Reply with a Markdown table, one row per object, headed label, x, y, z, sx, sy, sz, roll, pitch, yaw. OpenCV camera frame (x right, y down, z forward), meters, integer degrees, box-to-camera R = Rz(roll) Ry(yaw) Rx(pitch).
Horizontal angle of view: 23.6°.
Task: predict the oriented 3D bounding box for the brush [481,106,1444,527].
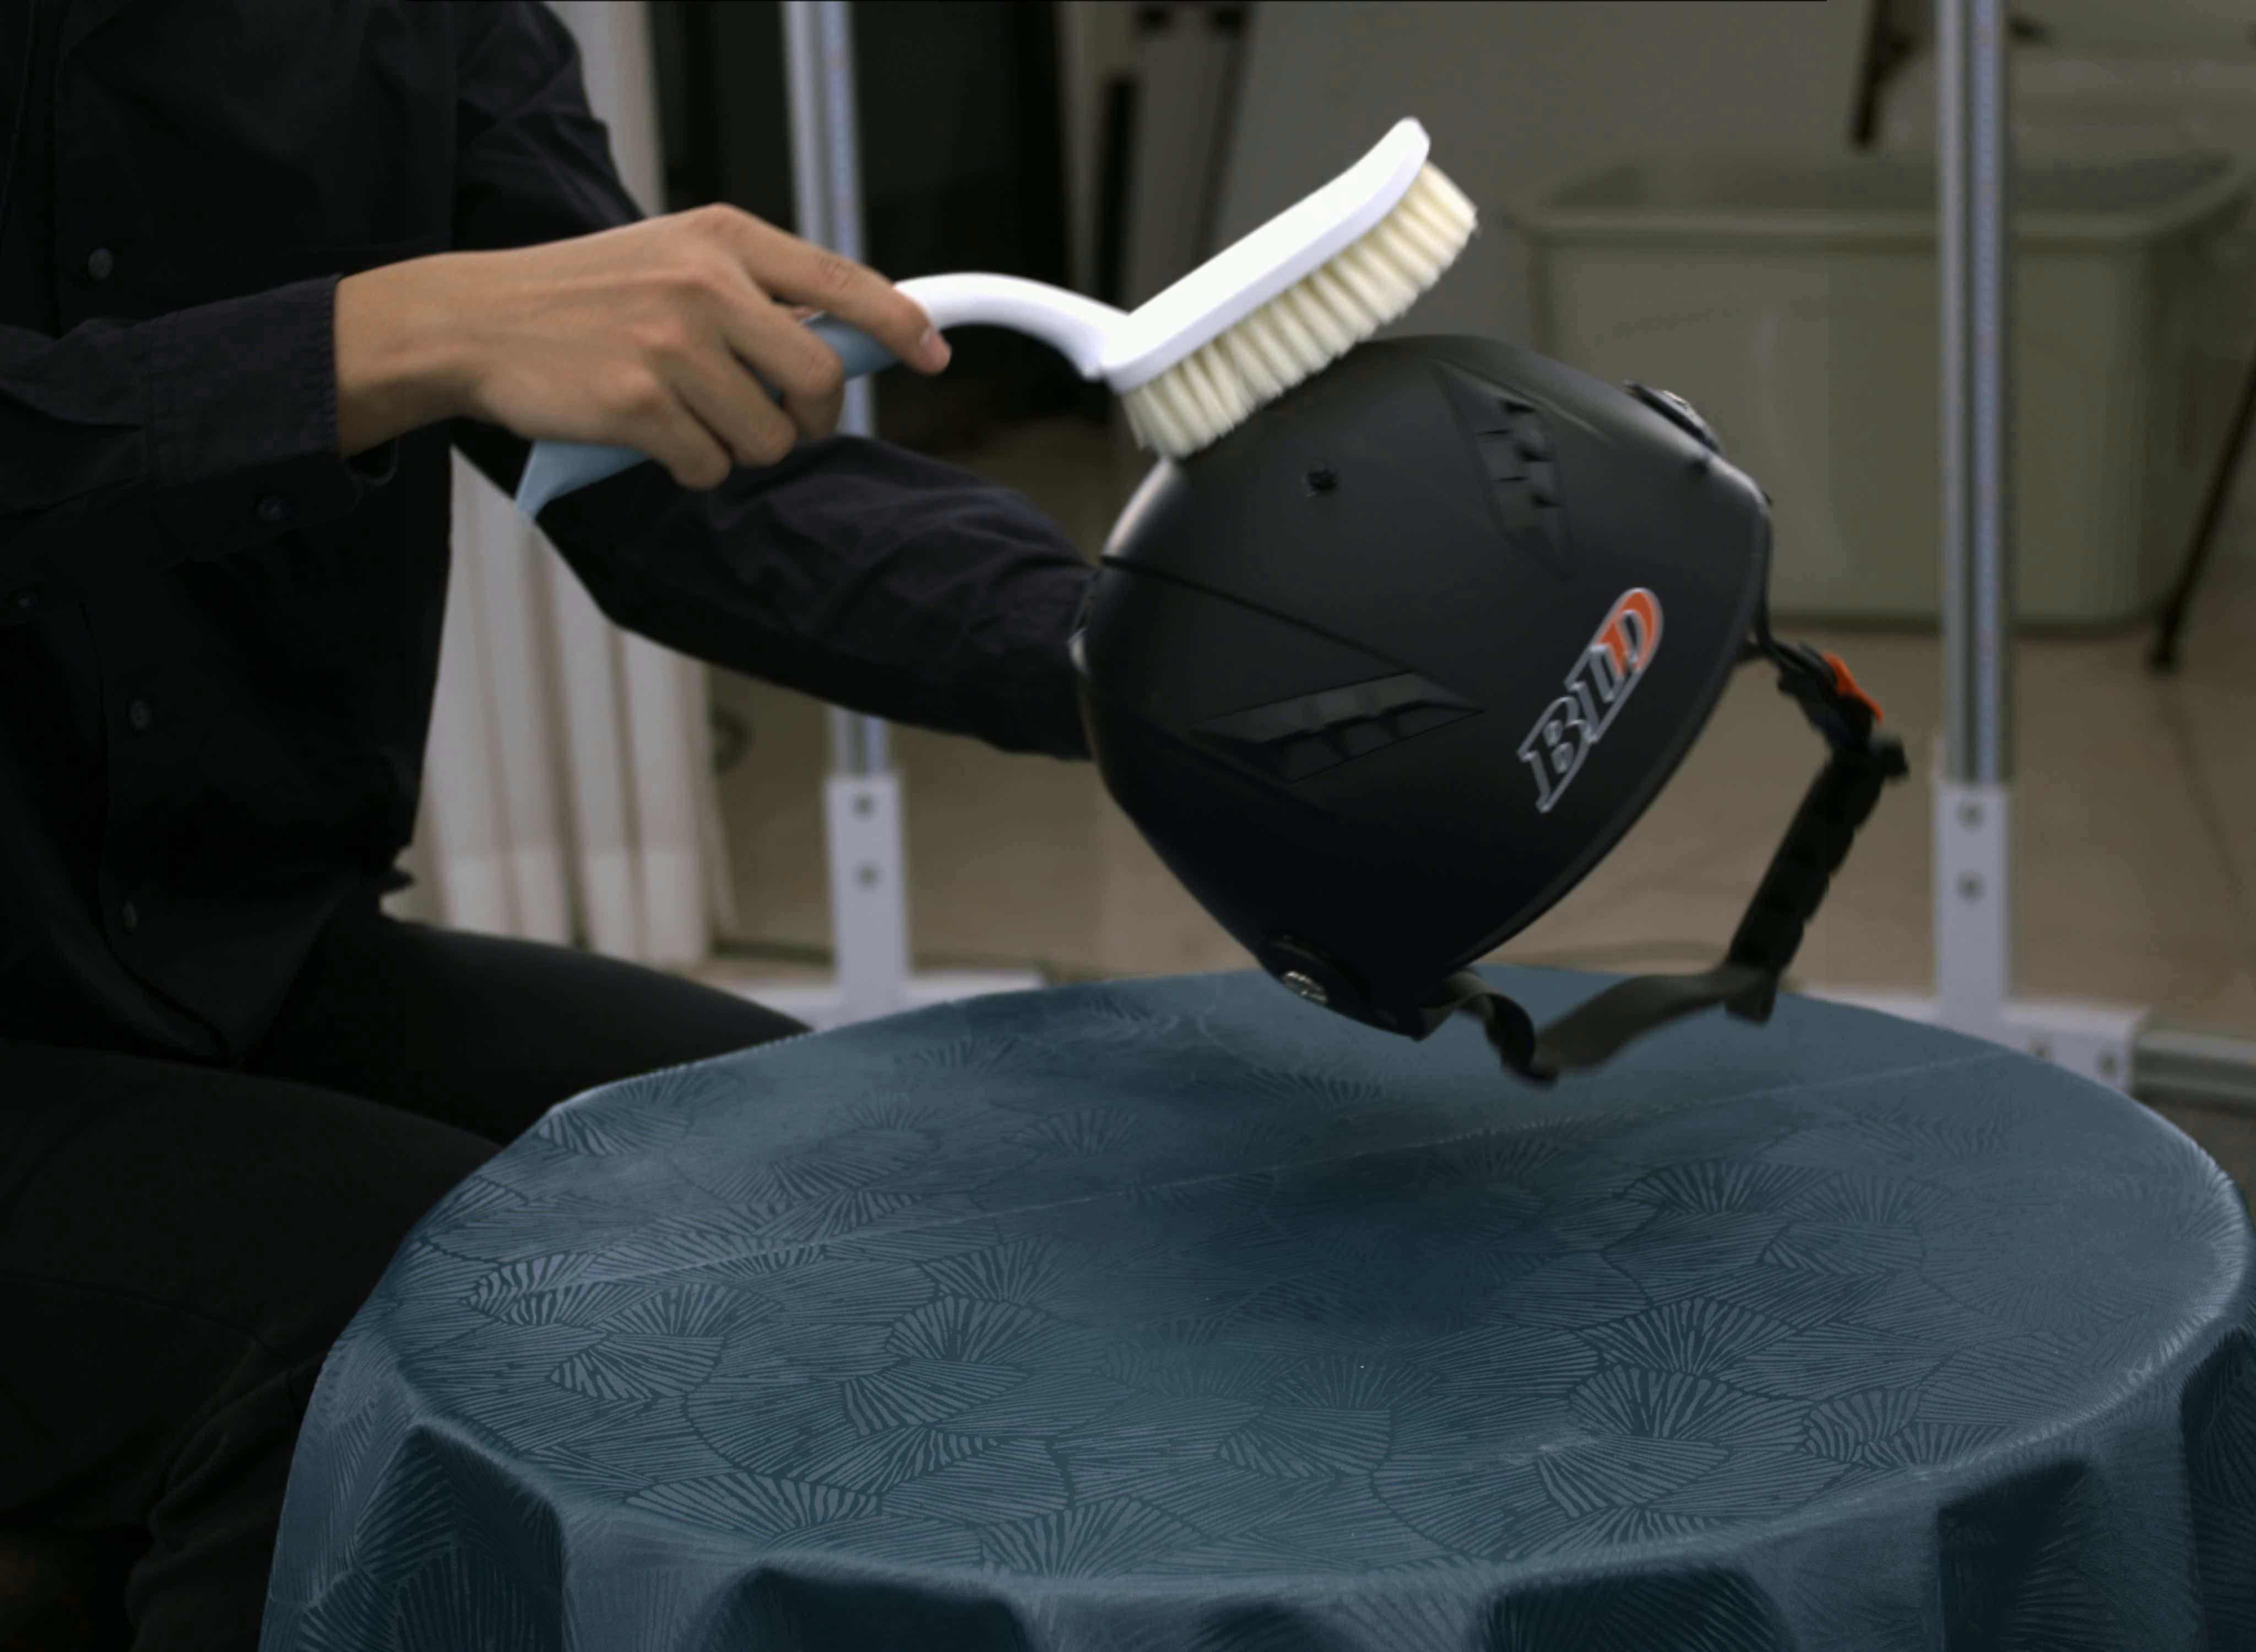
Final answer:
| label | x | y | z | sx | sy | sz | roll | pitch | yaw |
| --- | --- | --- | --- | --- | --- | --- | --- | --- | --- |
| brush | -0.047 | -0.134 | 1.726 | 0.322 | 0.085 | 0.083 | -22 | -24 | 1 |

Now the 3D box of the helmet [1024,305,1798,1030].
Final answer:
| label | x | y | z | sx | sy | sz | roll | pitch | yaw |
| --- | --- | --- | --- | --- | --- | --- | --- | --- | --- |
| helmet | 0.078 | -0.071 | 1.727 | 0.170 | 0.247 | 0.279 | 36 | -7 | -18 |
